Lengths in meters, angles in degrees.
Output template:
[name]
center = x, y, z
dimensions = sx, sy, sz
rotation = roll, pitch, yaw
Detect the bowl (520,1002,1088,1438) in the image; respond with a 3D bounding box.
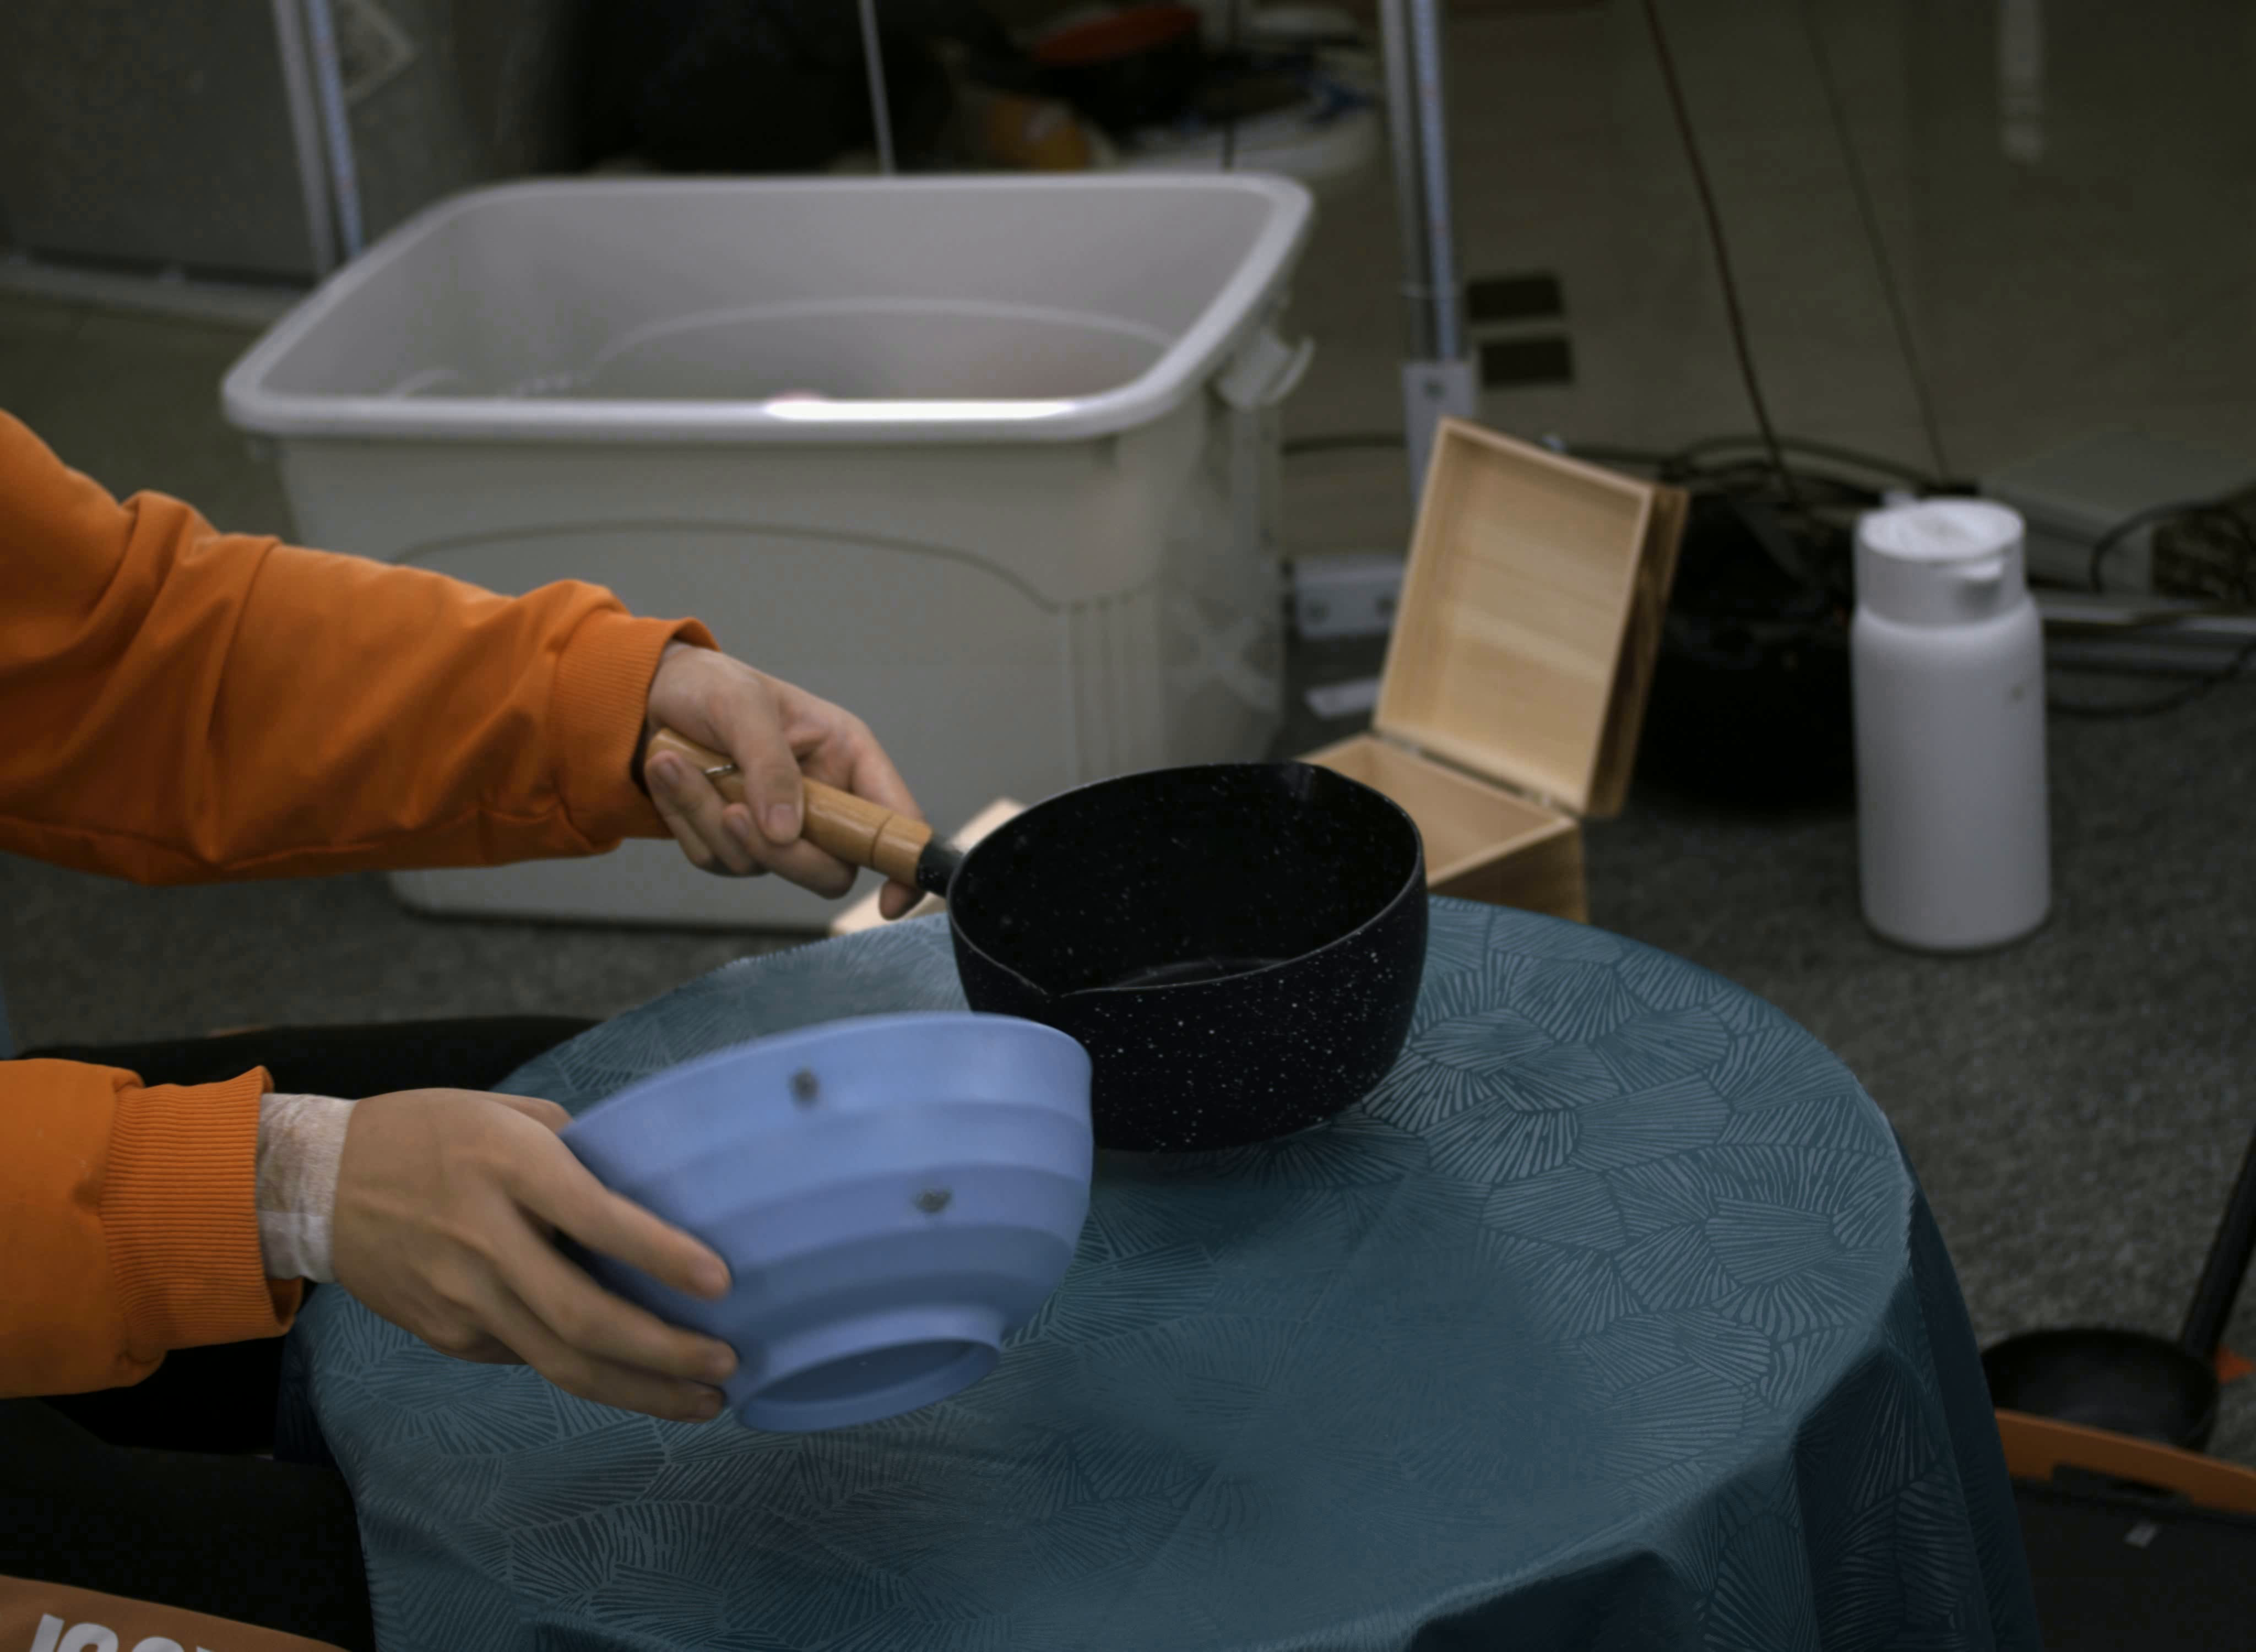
[bowl]
center = -0.099, 0.144, 1.903
dimensions = 0.196, 0.199, 0.094
rotation = -11, 66, -9

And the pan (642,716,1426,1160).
[pan]
center = -0.044, 0.032, 2.211
dimensions = 0.341, 0.110, 0.205
rotation = 10, 34, 29
